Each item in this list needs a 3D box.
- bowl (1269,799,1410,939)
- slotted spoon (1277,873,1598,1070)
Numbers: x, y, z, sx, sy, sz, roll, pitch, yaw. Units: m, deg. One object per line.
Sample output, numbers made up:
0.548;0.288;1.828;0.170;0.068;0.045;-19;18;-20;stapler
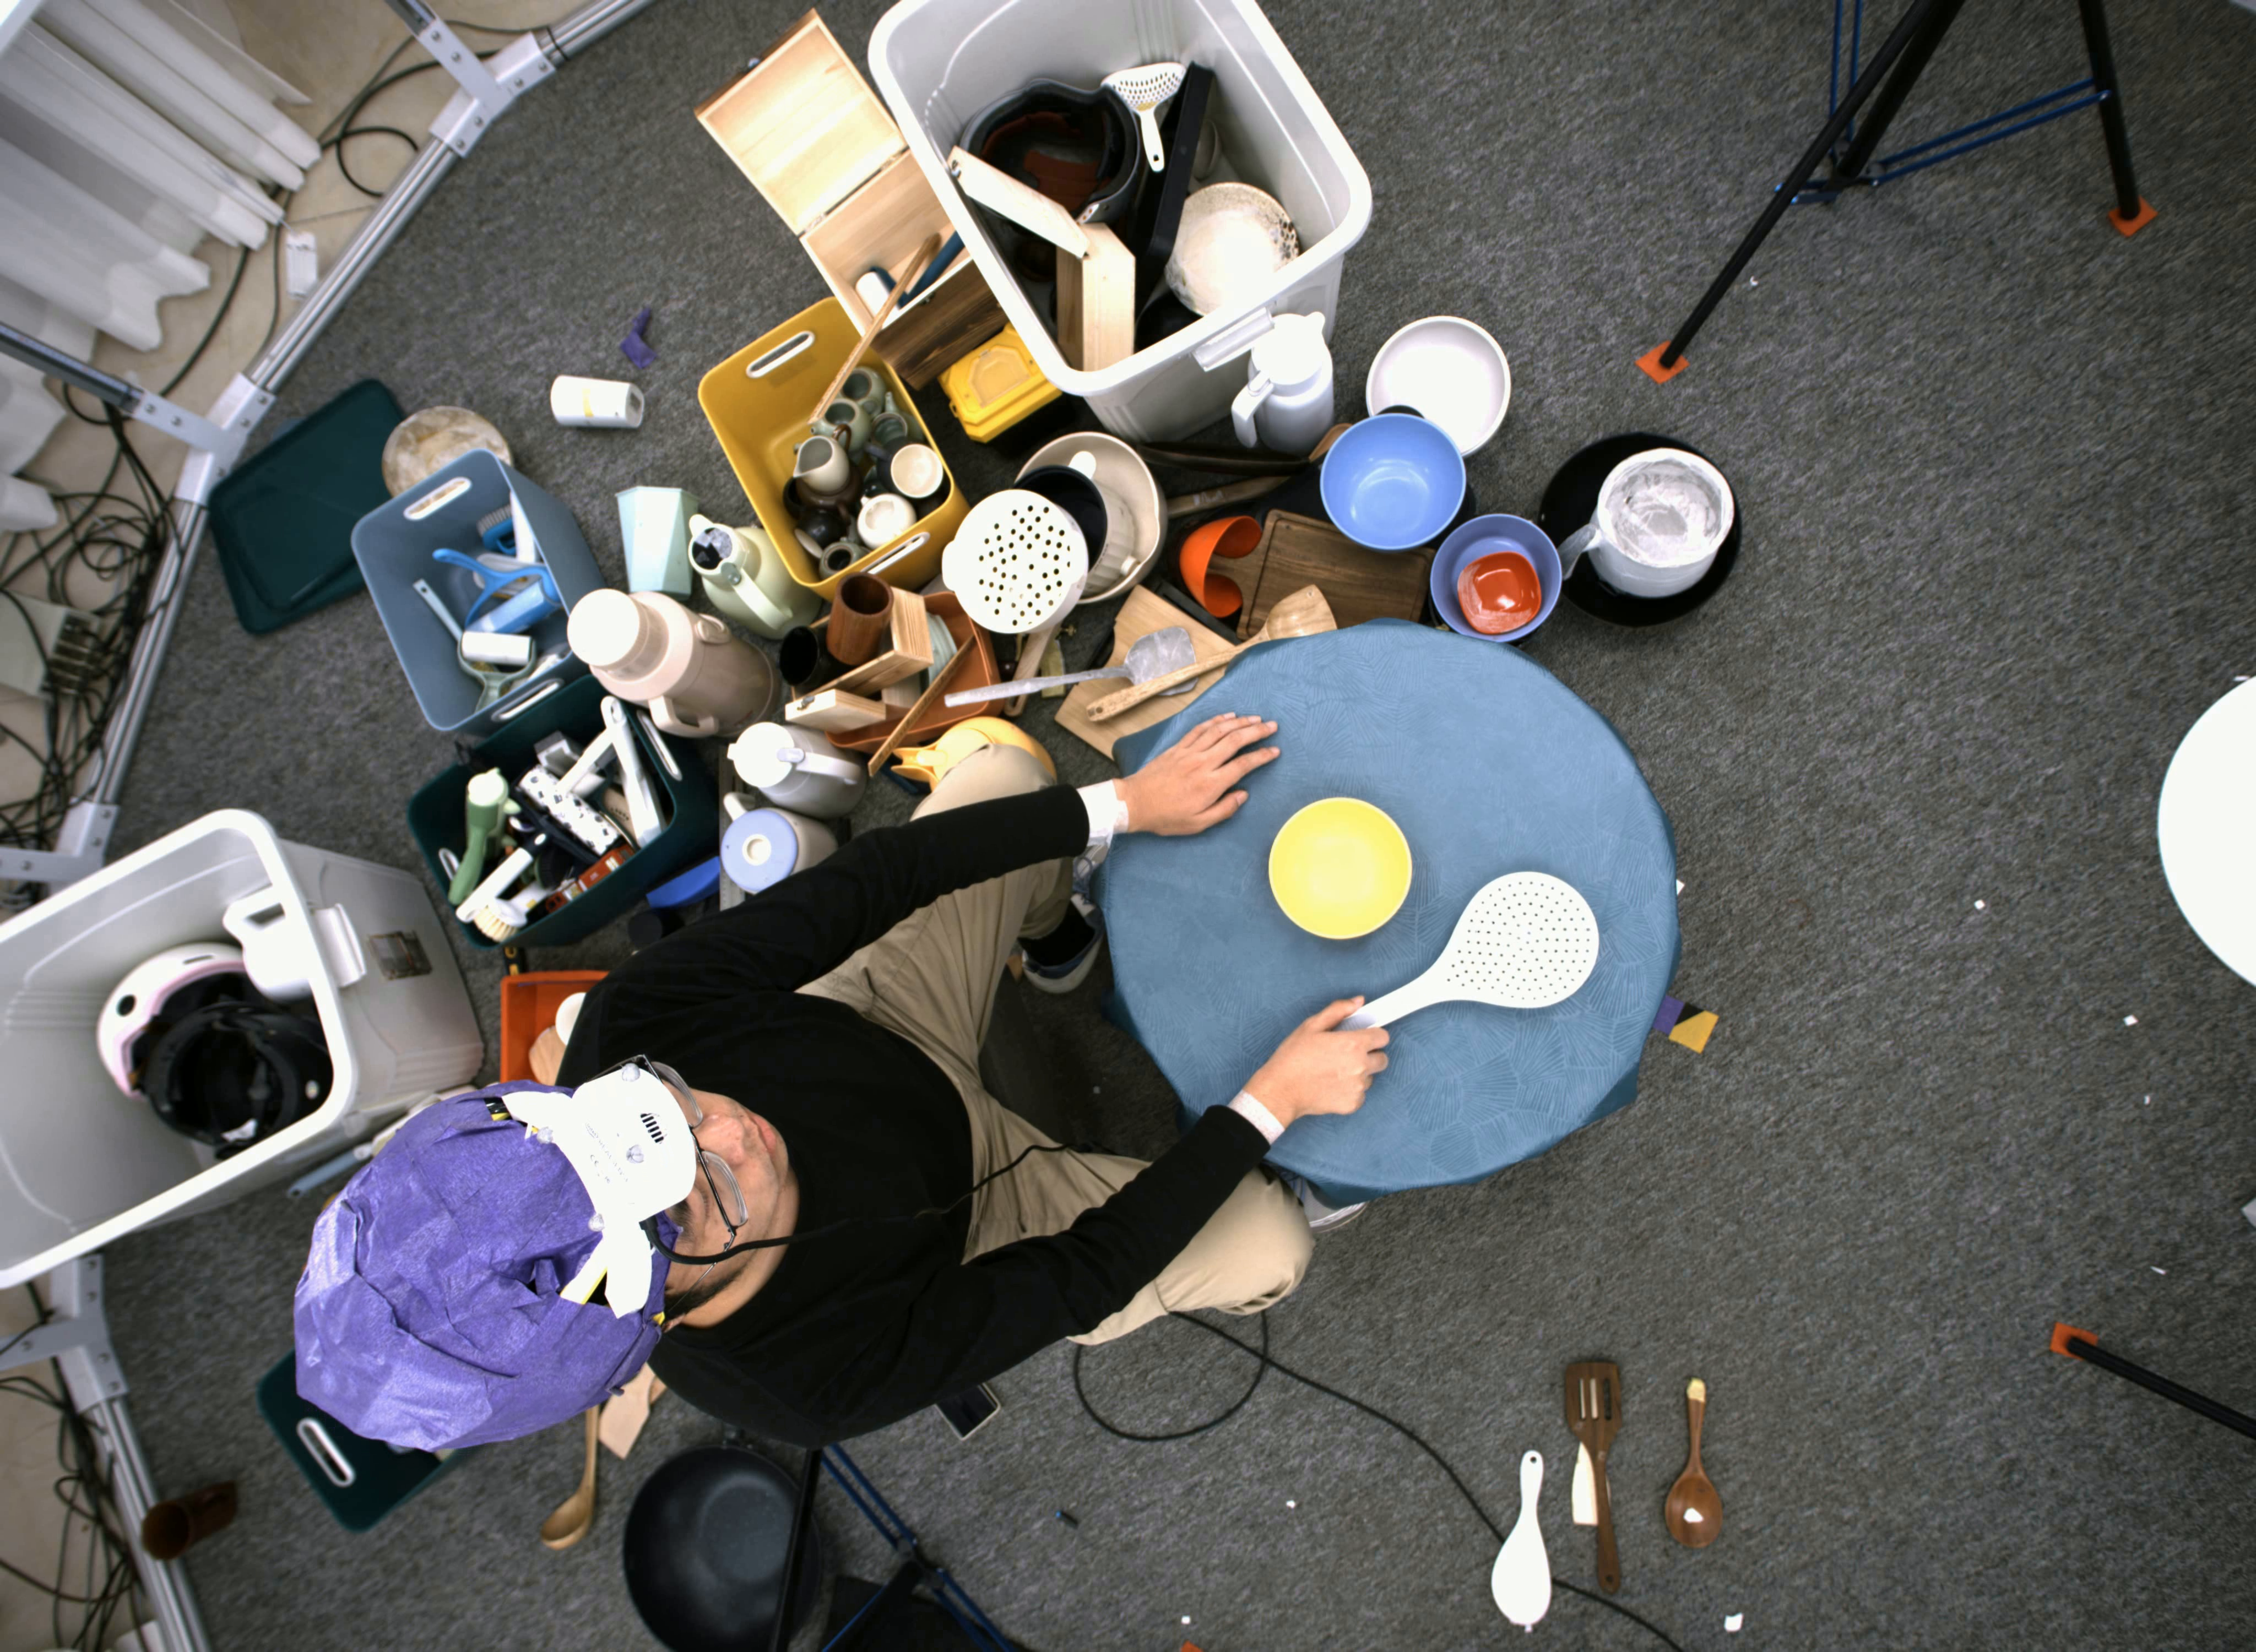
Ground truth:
0.220;0.047;1.442;0.146;0.060;0.144;-1;84;9;bowl
0.313;0.164;1.420;0.351;0.046;0.135;-27;77;7;slotted spoon
